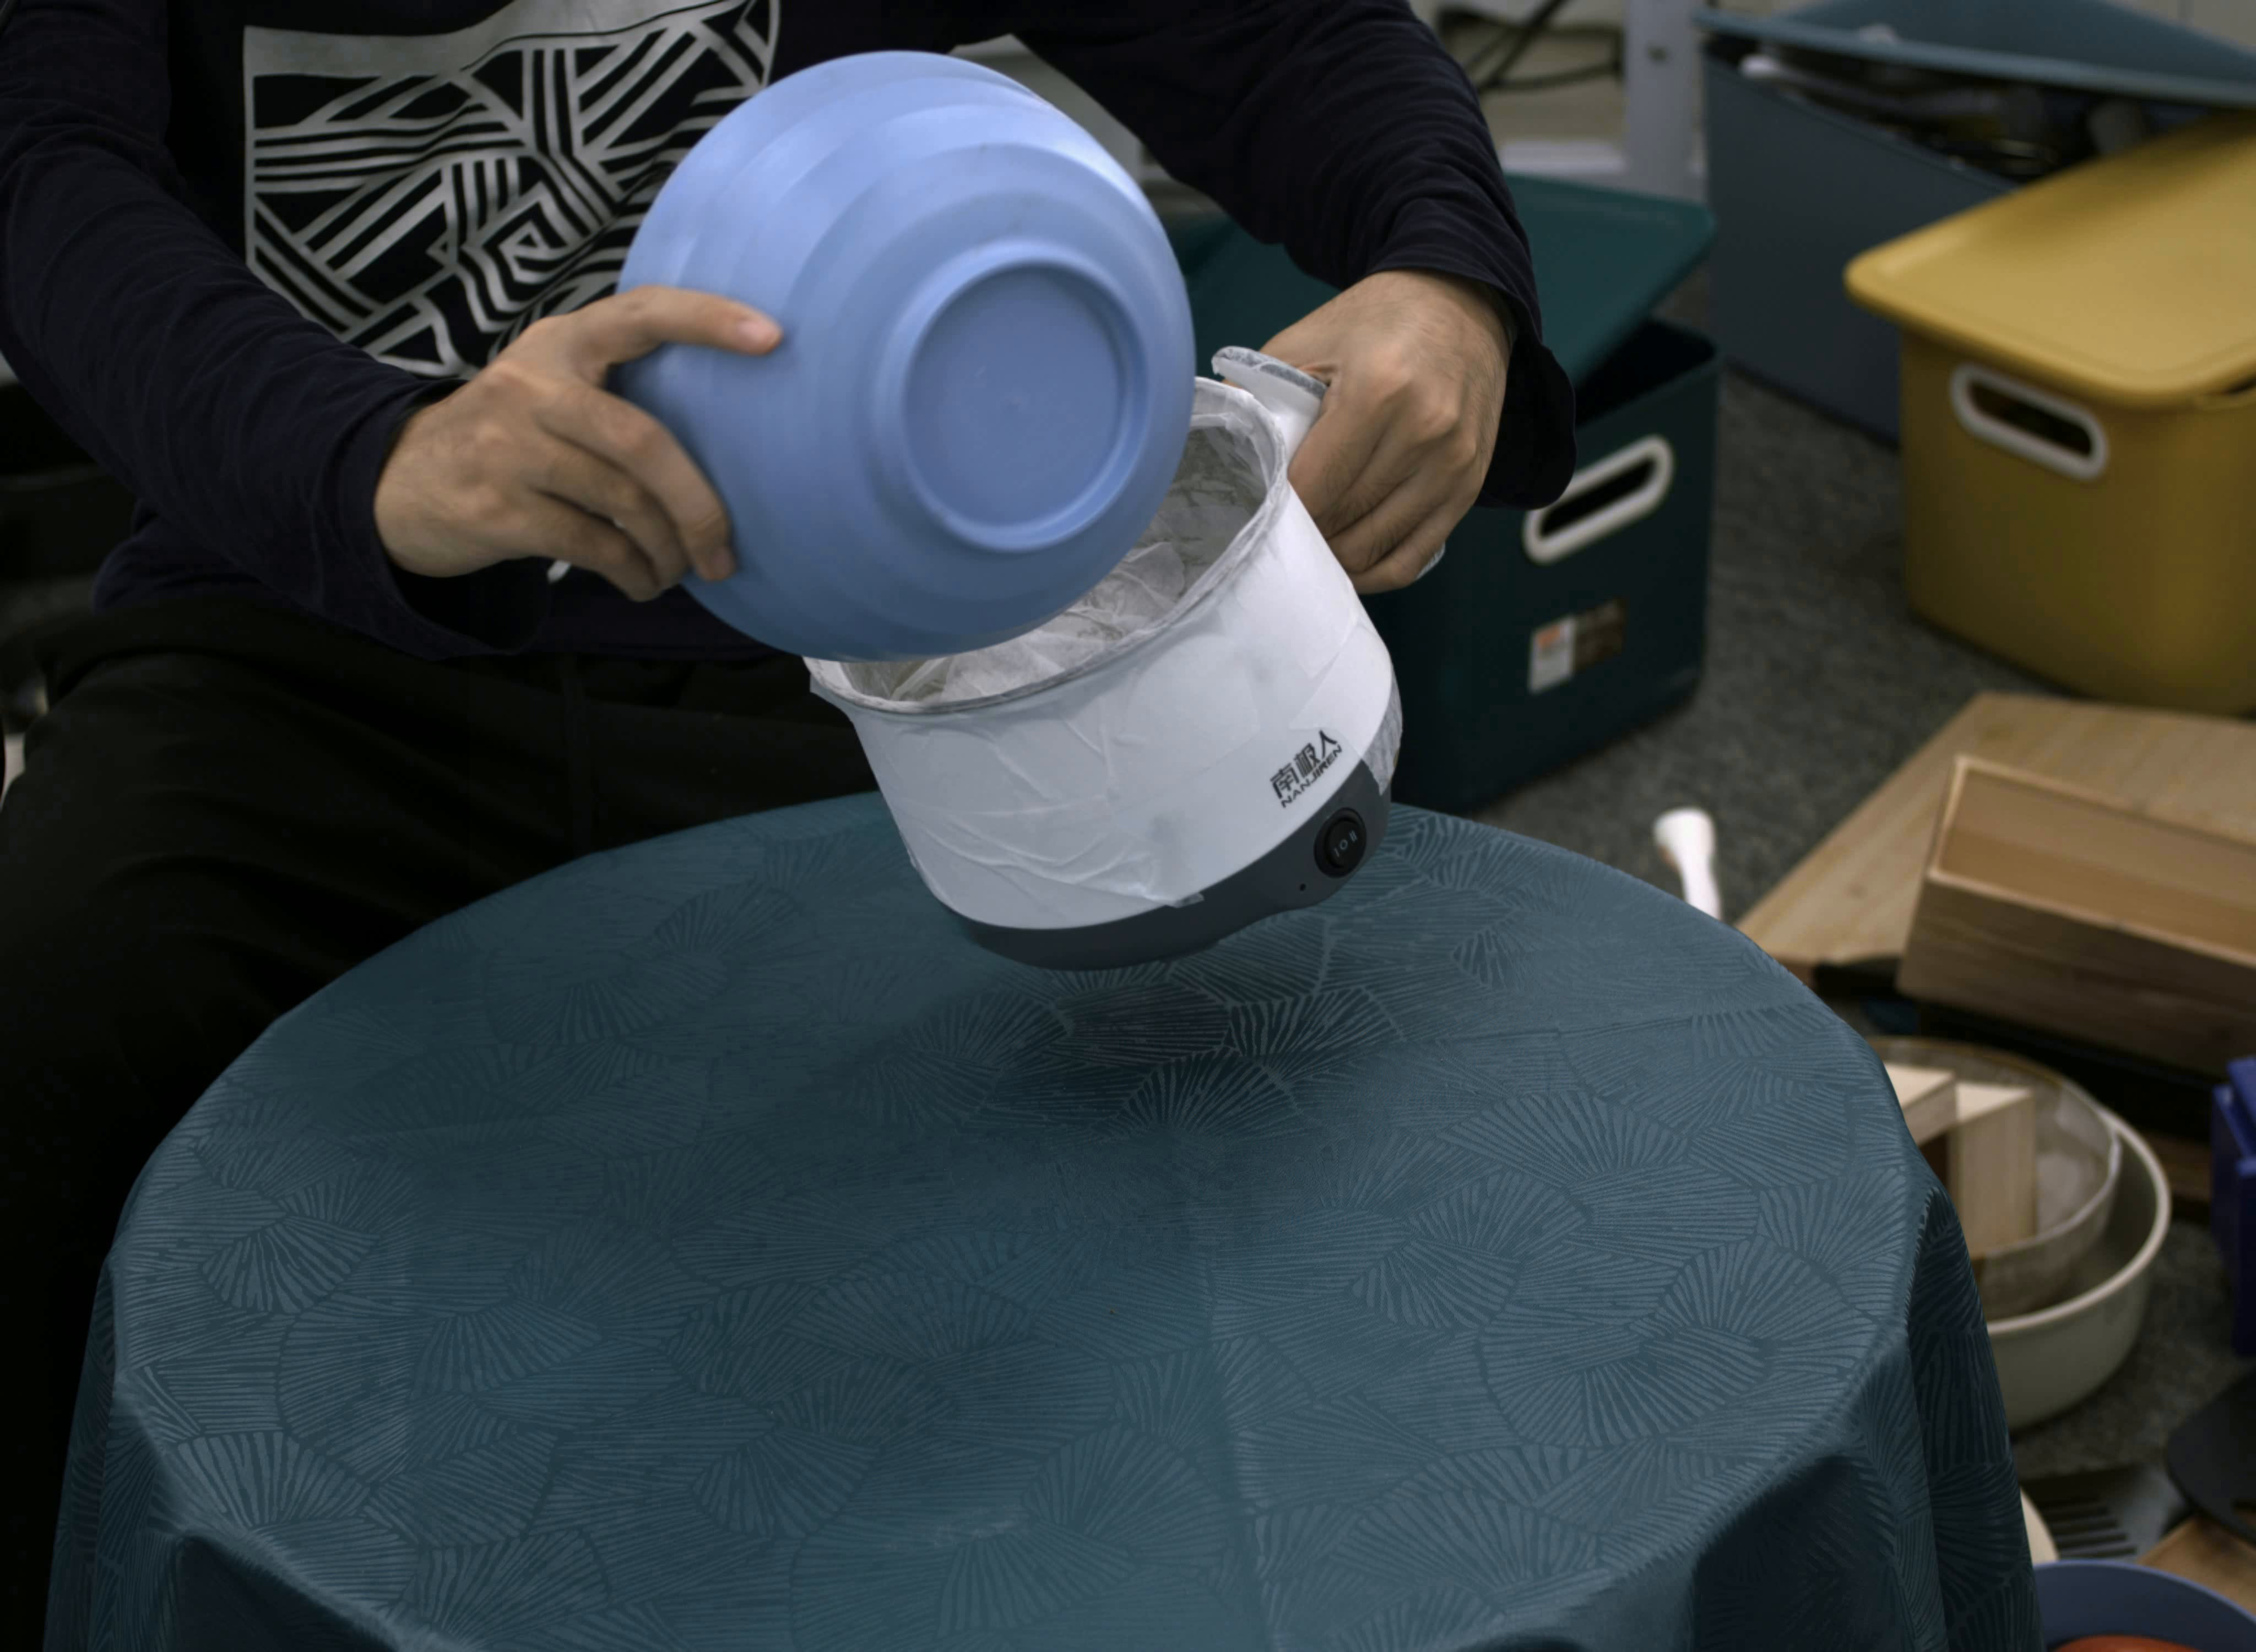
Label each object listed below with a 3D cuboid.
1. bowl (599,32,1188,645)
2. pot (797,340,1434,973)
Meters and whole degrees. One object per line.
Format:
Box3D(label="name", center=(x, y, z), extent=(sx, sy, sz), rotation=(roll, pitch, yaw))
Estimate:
Box3D(label="bowl", center=(-0.057, -0.140, 1.752), extent=(0.198, 0.195, 0.095), rotation=(-17, 25, -26))
Box3D(label="pot", center=(0.011, -0.067, 1.913), extent=(0.178, 0.135, 0.237), rotation=(15, 51, 42))
